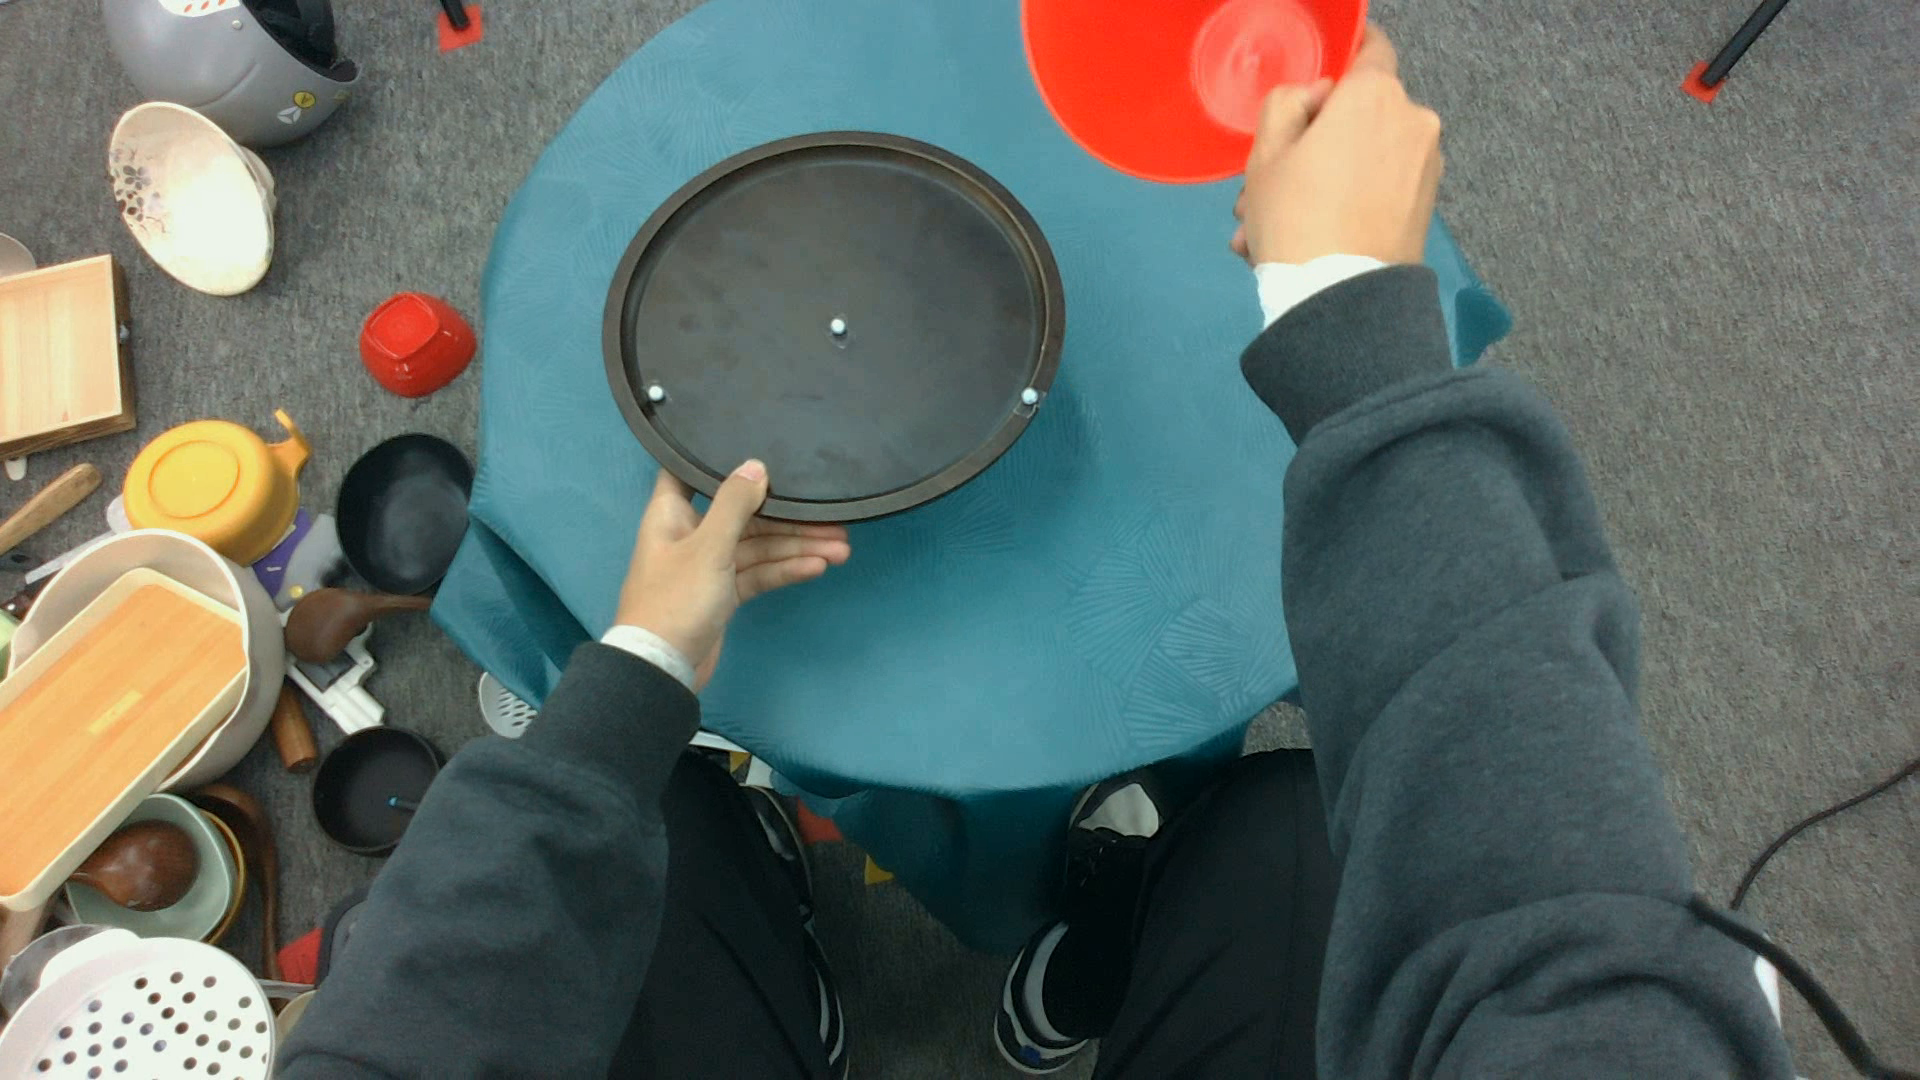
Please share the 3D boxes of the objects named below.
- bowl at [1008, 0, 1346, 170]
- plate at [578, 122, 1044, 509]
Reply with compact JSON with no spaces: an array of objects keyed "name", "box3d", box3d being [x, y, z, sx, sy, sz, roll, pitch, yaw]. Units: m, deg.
[{"name":"bowl","box3d":[0.109,-0.240,0.644,0.148,0.105,0.148,0,91,21]},{"name":"plate","box3d":[-0.081,-0.128,0.757,0.255,0.029,0.255,0,64,-1]}]
